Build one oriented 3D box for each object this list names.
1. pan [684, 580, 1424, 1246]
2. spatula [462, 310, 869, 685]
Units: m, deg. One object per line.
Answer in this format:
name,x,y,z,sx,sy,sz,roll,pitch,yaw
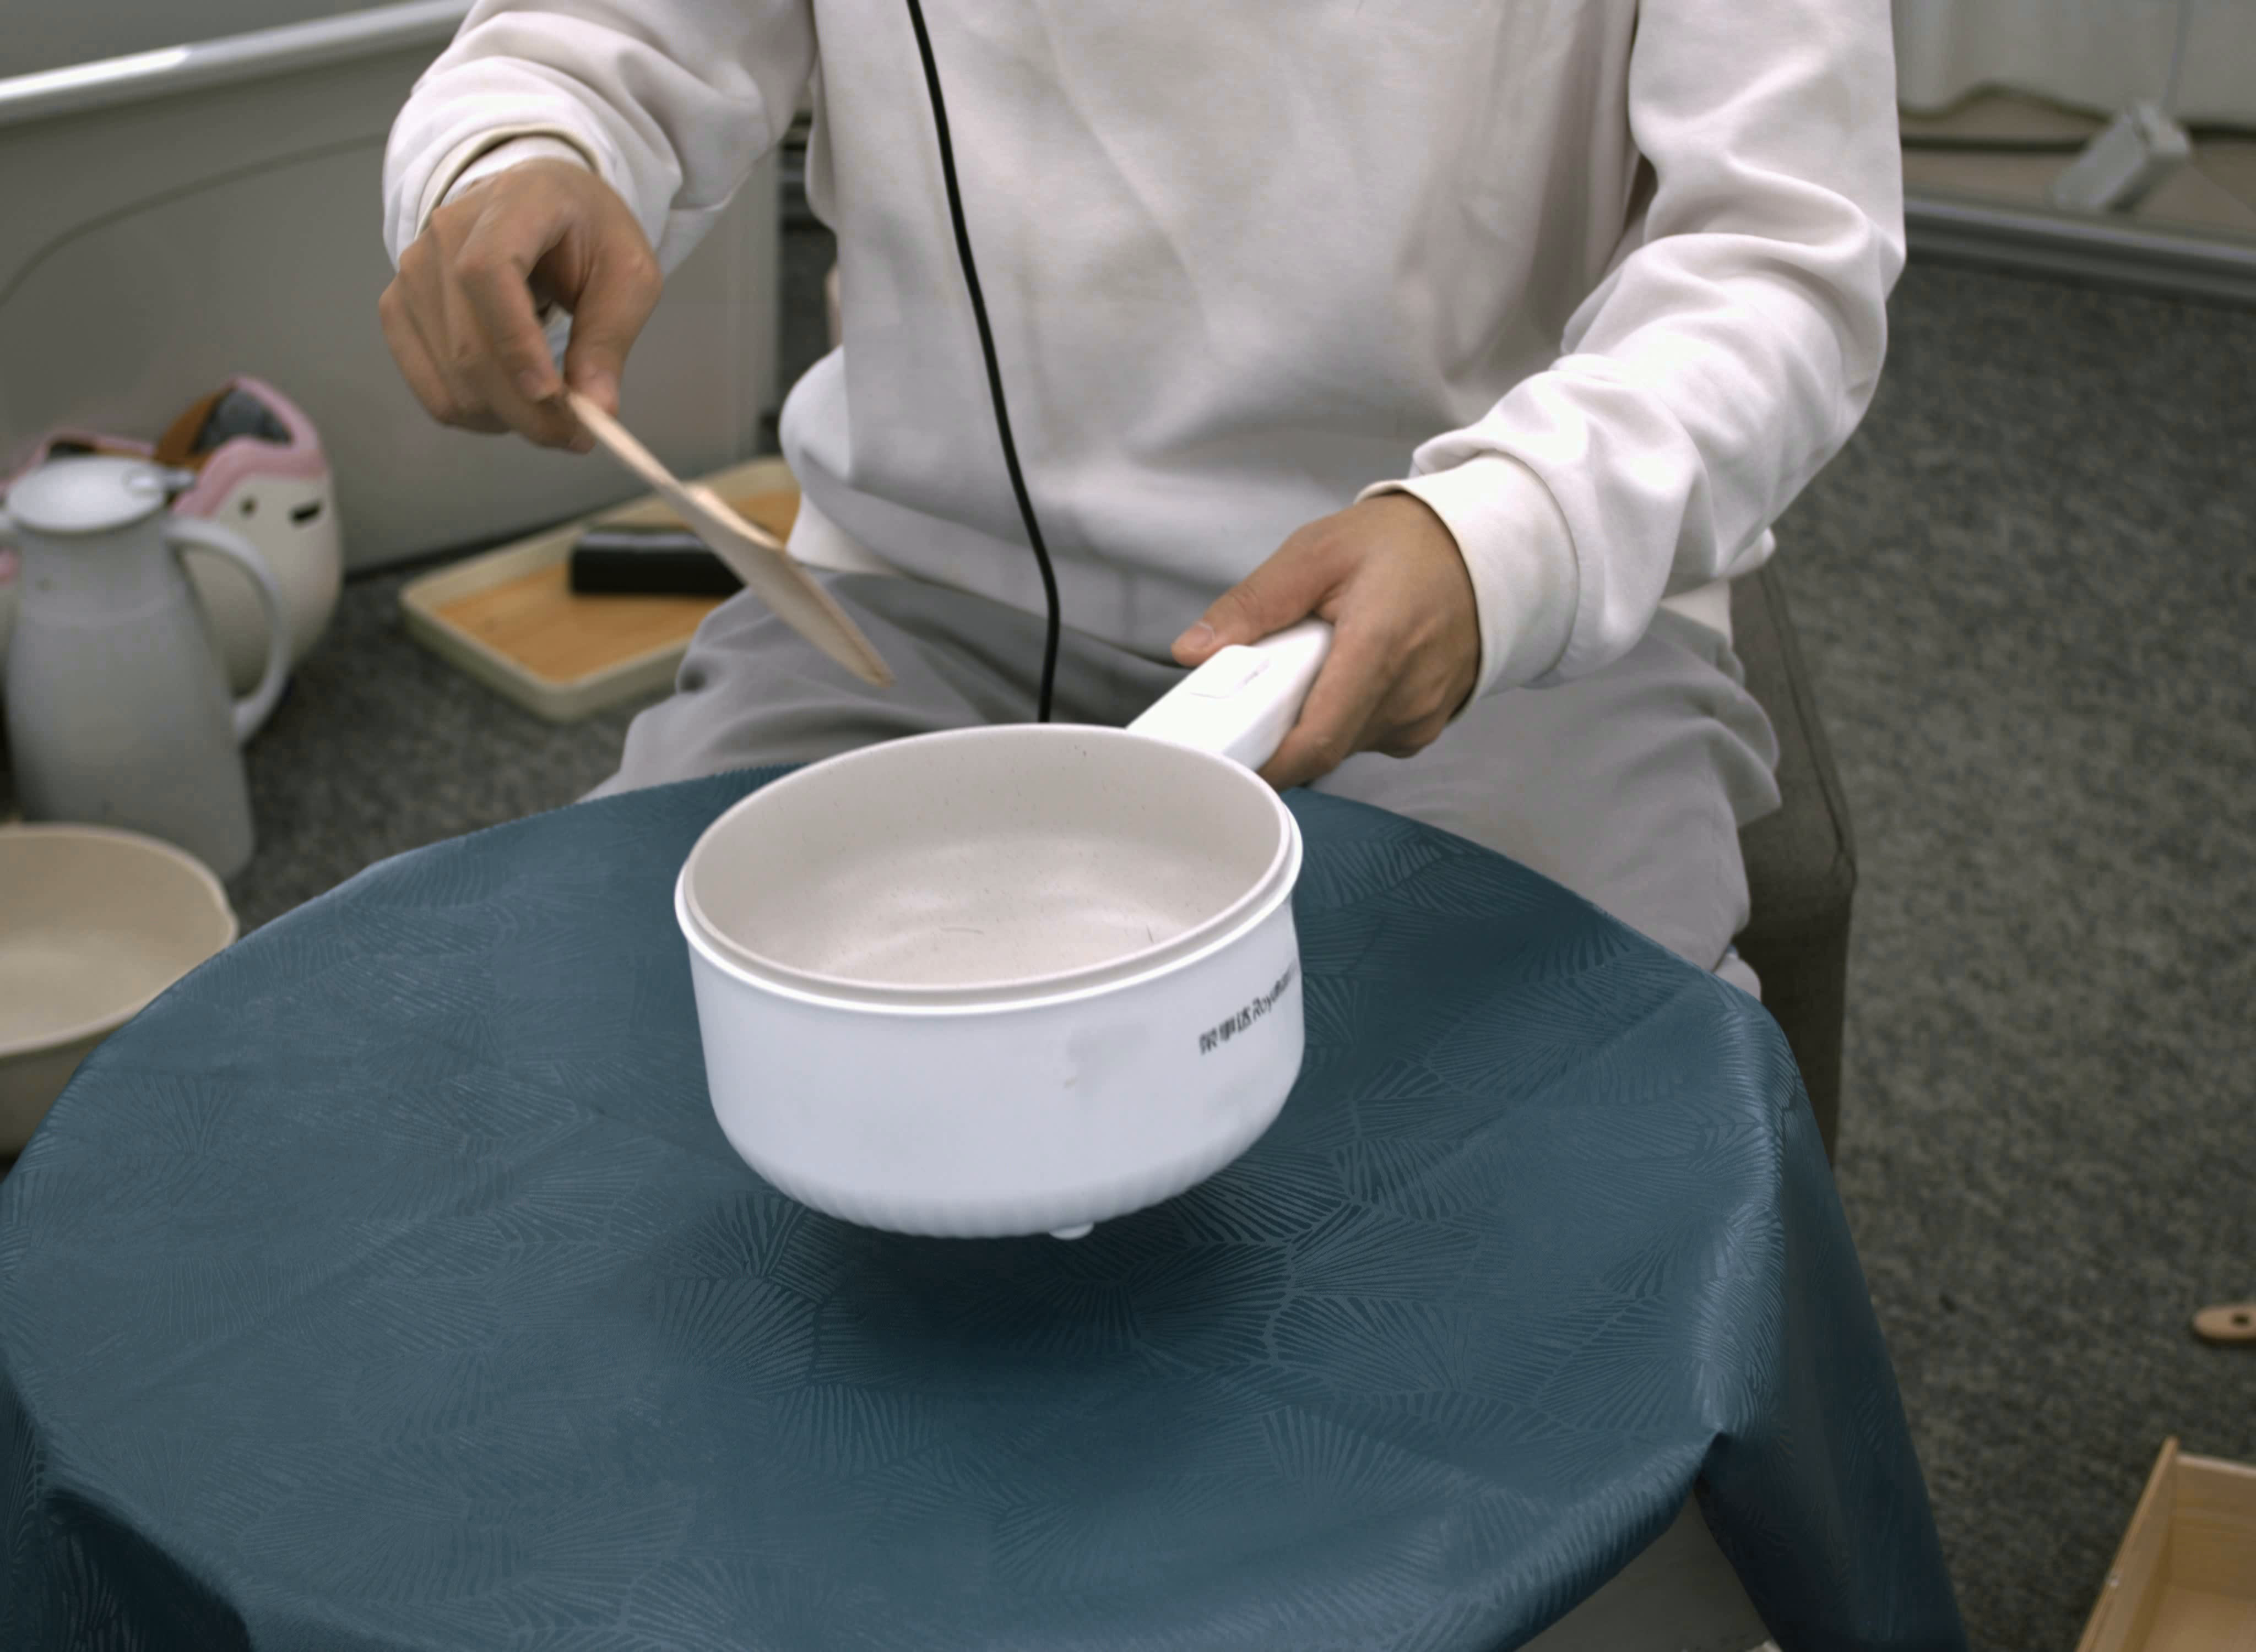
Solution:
pan,0.000,0.026,1.871,0.200,0.101,0.360,8,27,29
spatula,-0.163,-0.117,1.840,0.011,0.071,0.294,-44,35,-3
